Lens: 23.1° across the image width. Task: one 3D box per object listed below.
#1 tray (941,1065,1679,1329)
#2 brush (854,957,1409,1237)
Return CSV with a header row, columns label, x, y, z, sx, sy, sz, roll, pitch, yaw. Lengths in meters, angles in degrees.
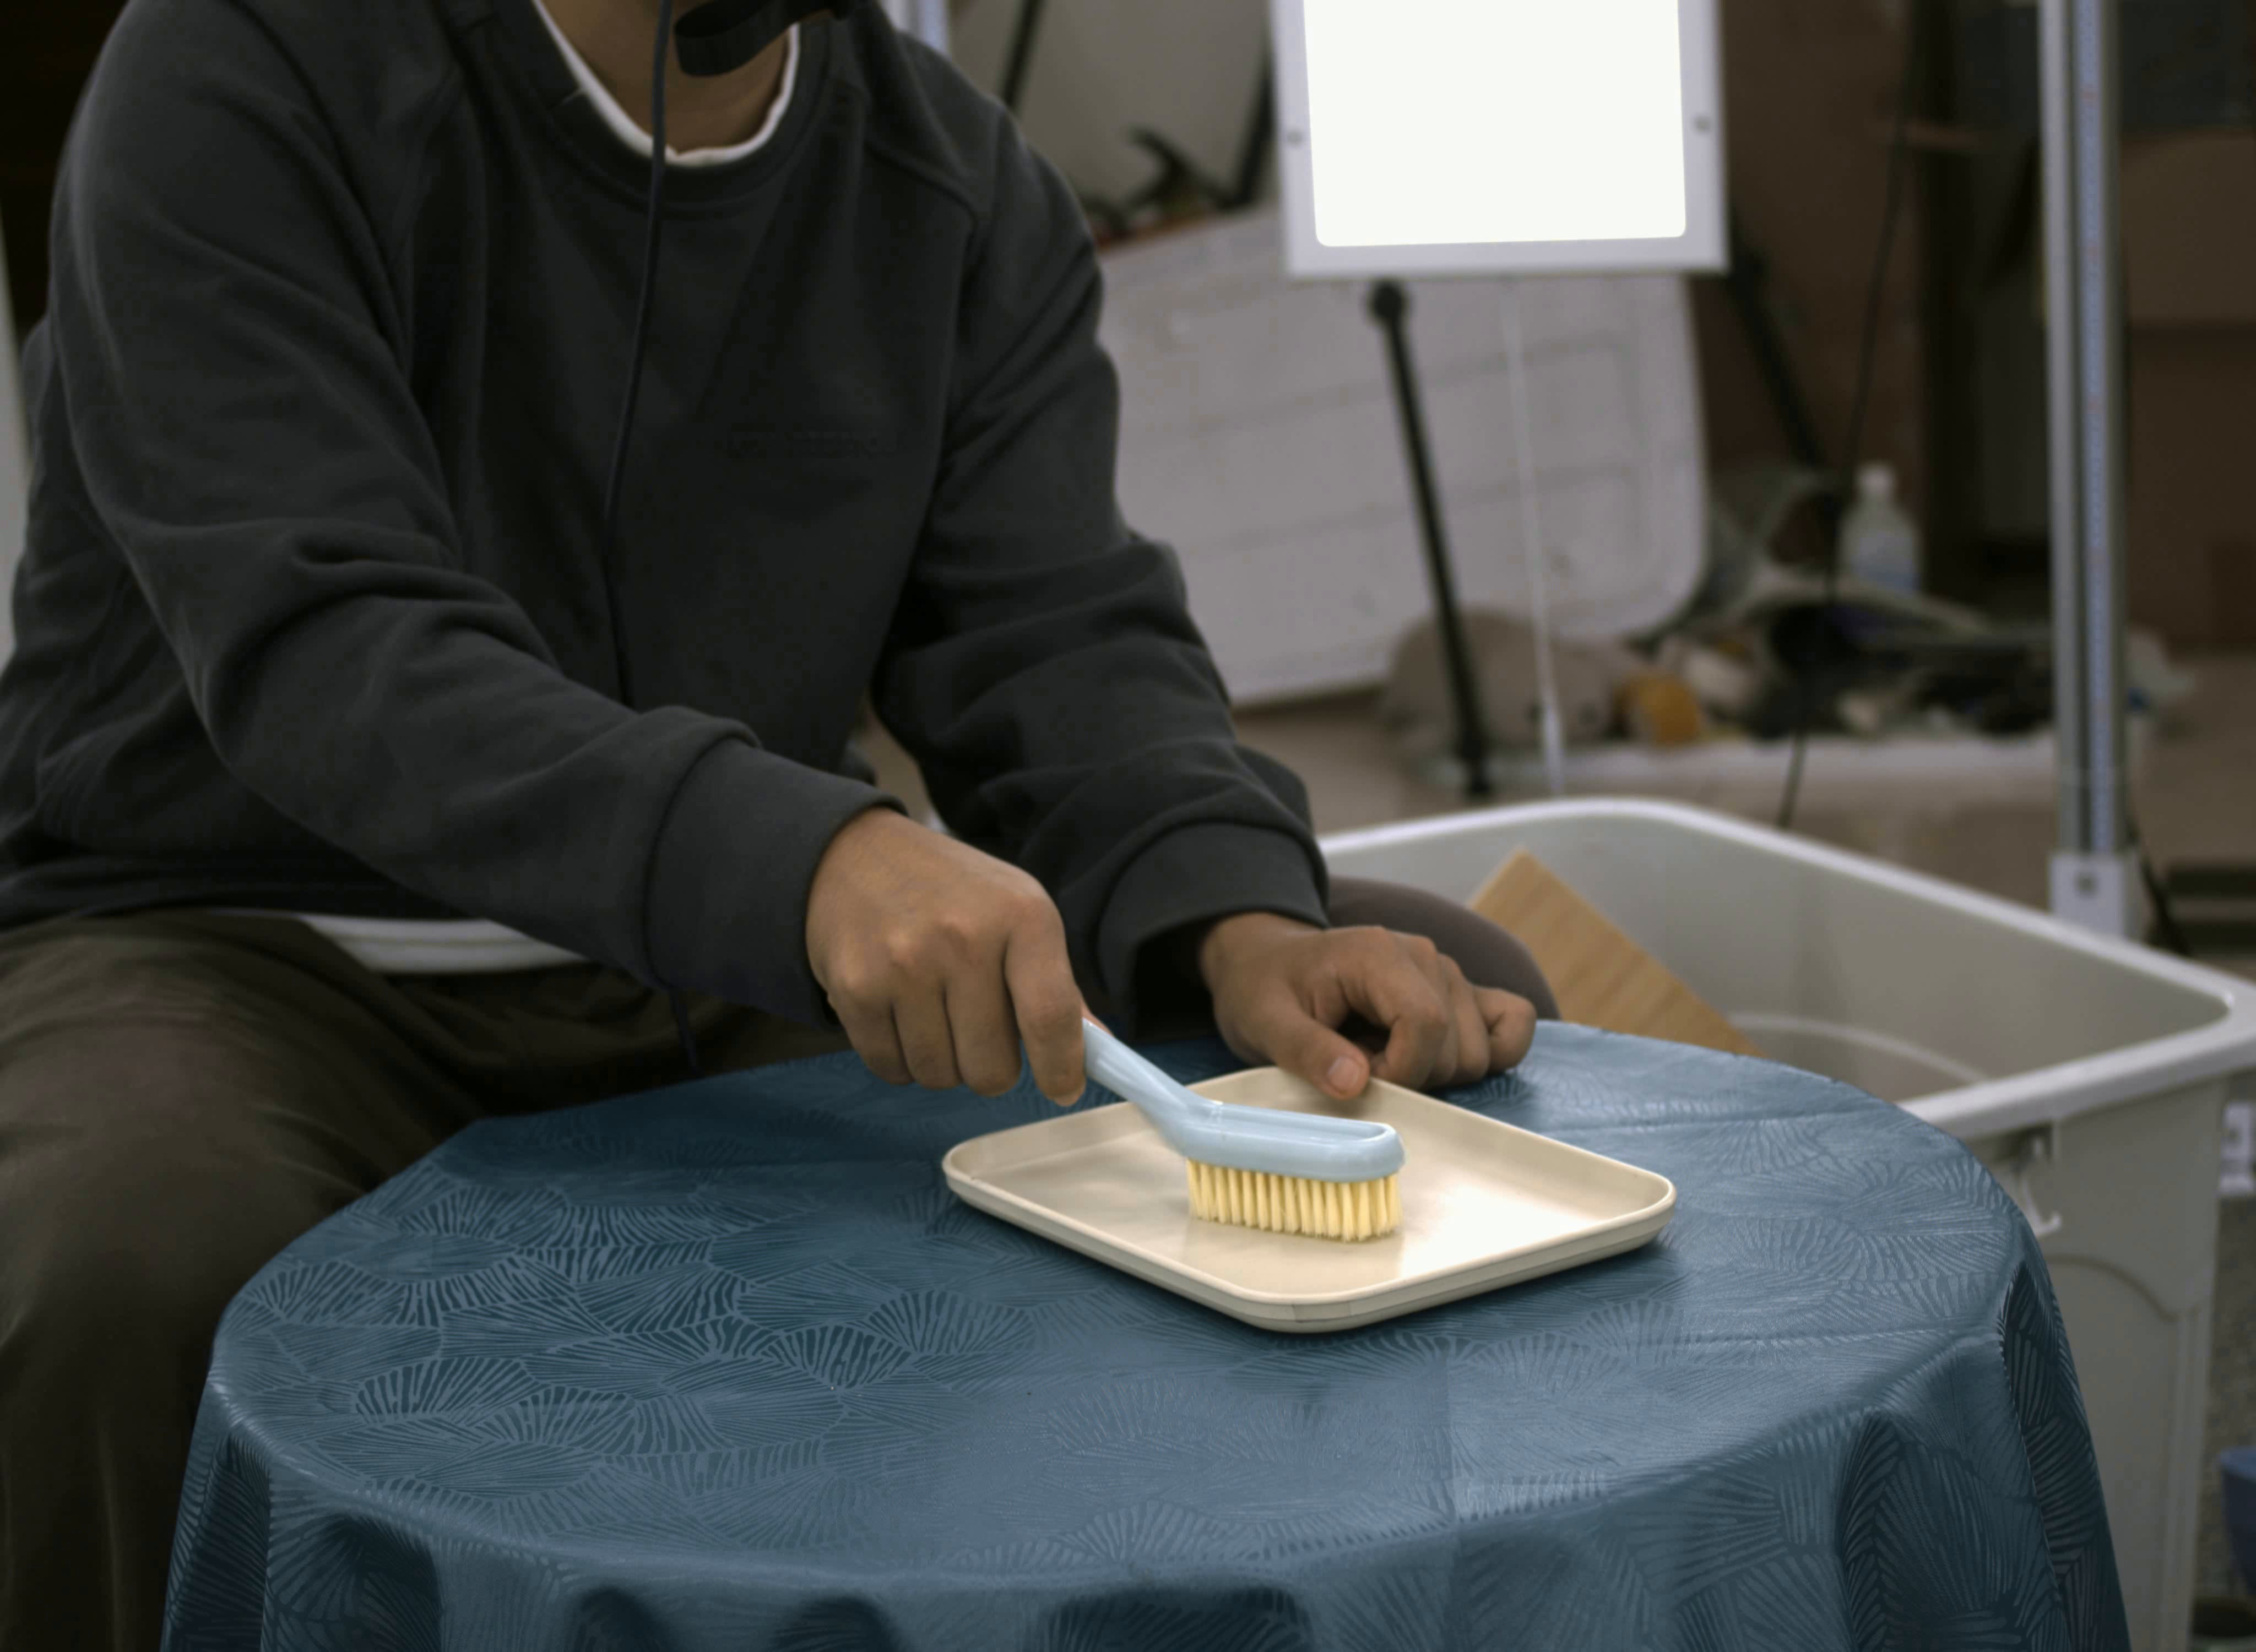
label,x,y,z,sx,sy,sz,roll,pitch,yaw
tray,0.059,0.124,1.850,0.167,0.017,0.244,-12,15,-29
brush,-0.002,0.093,1.877,0.233,0.050,0.037,20,26,34
